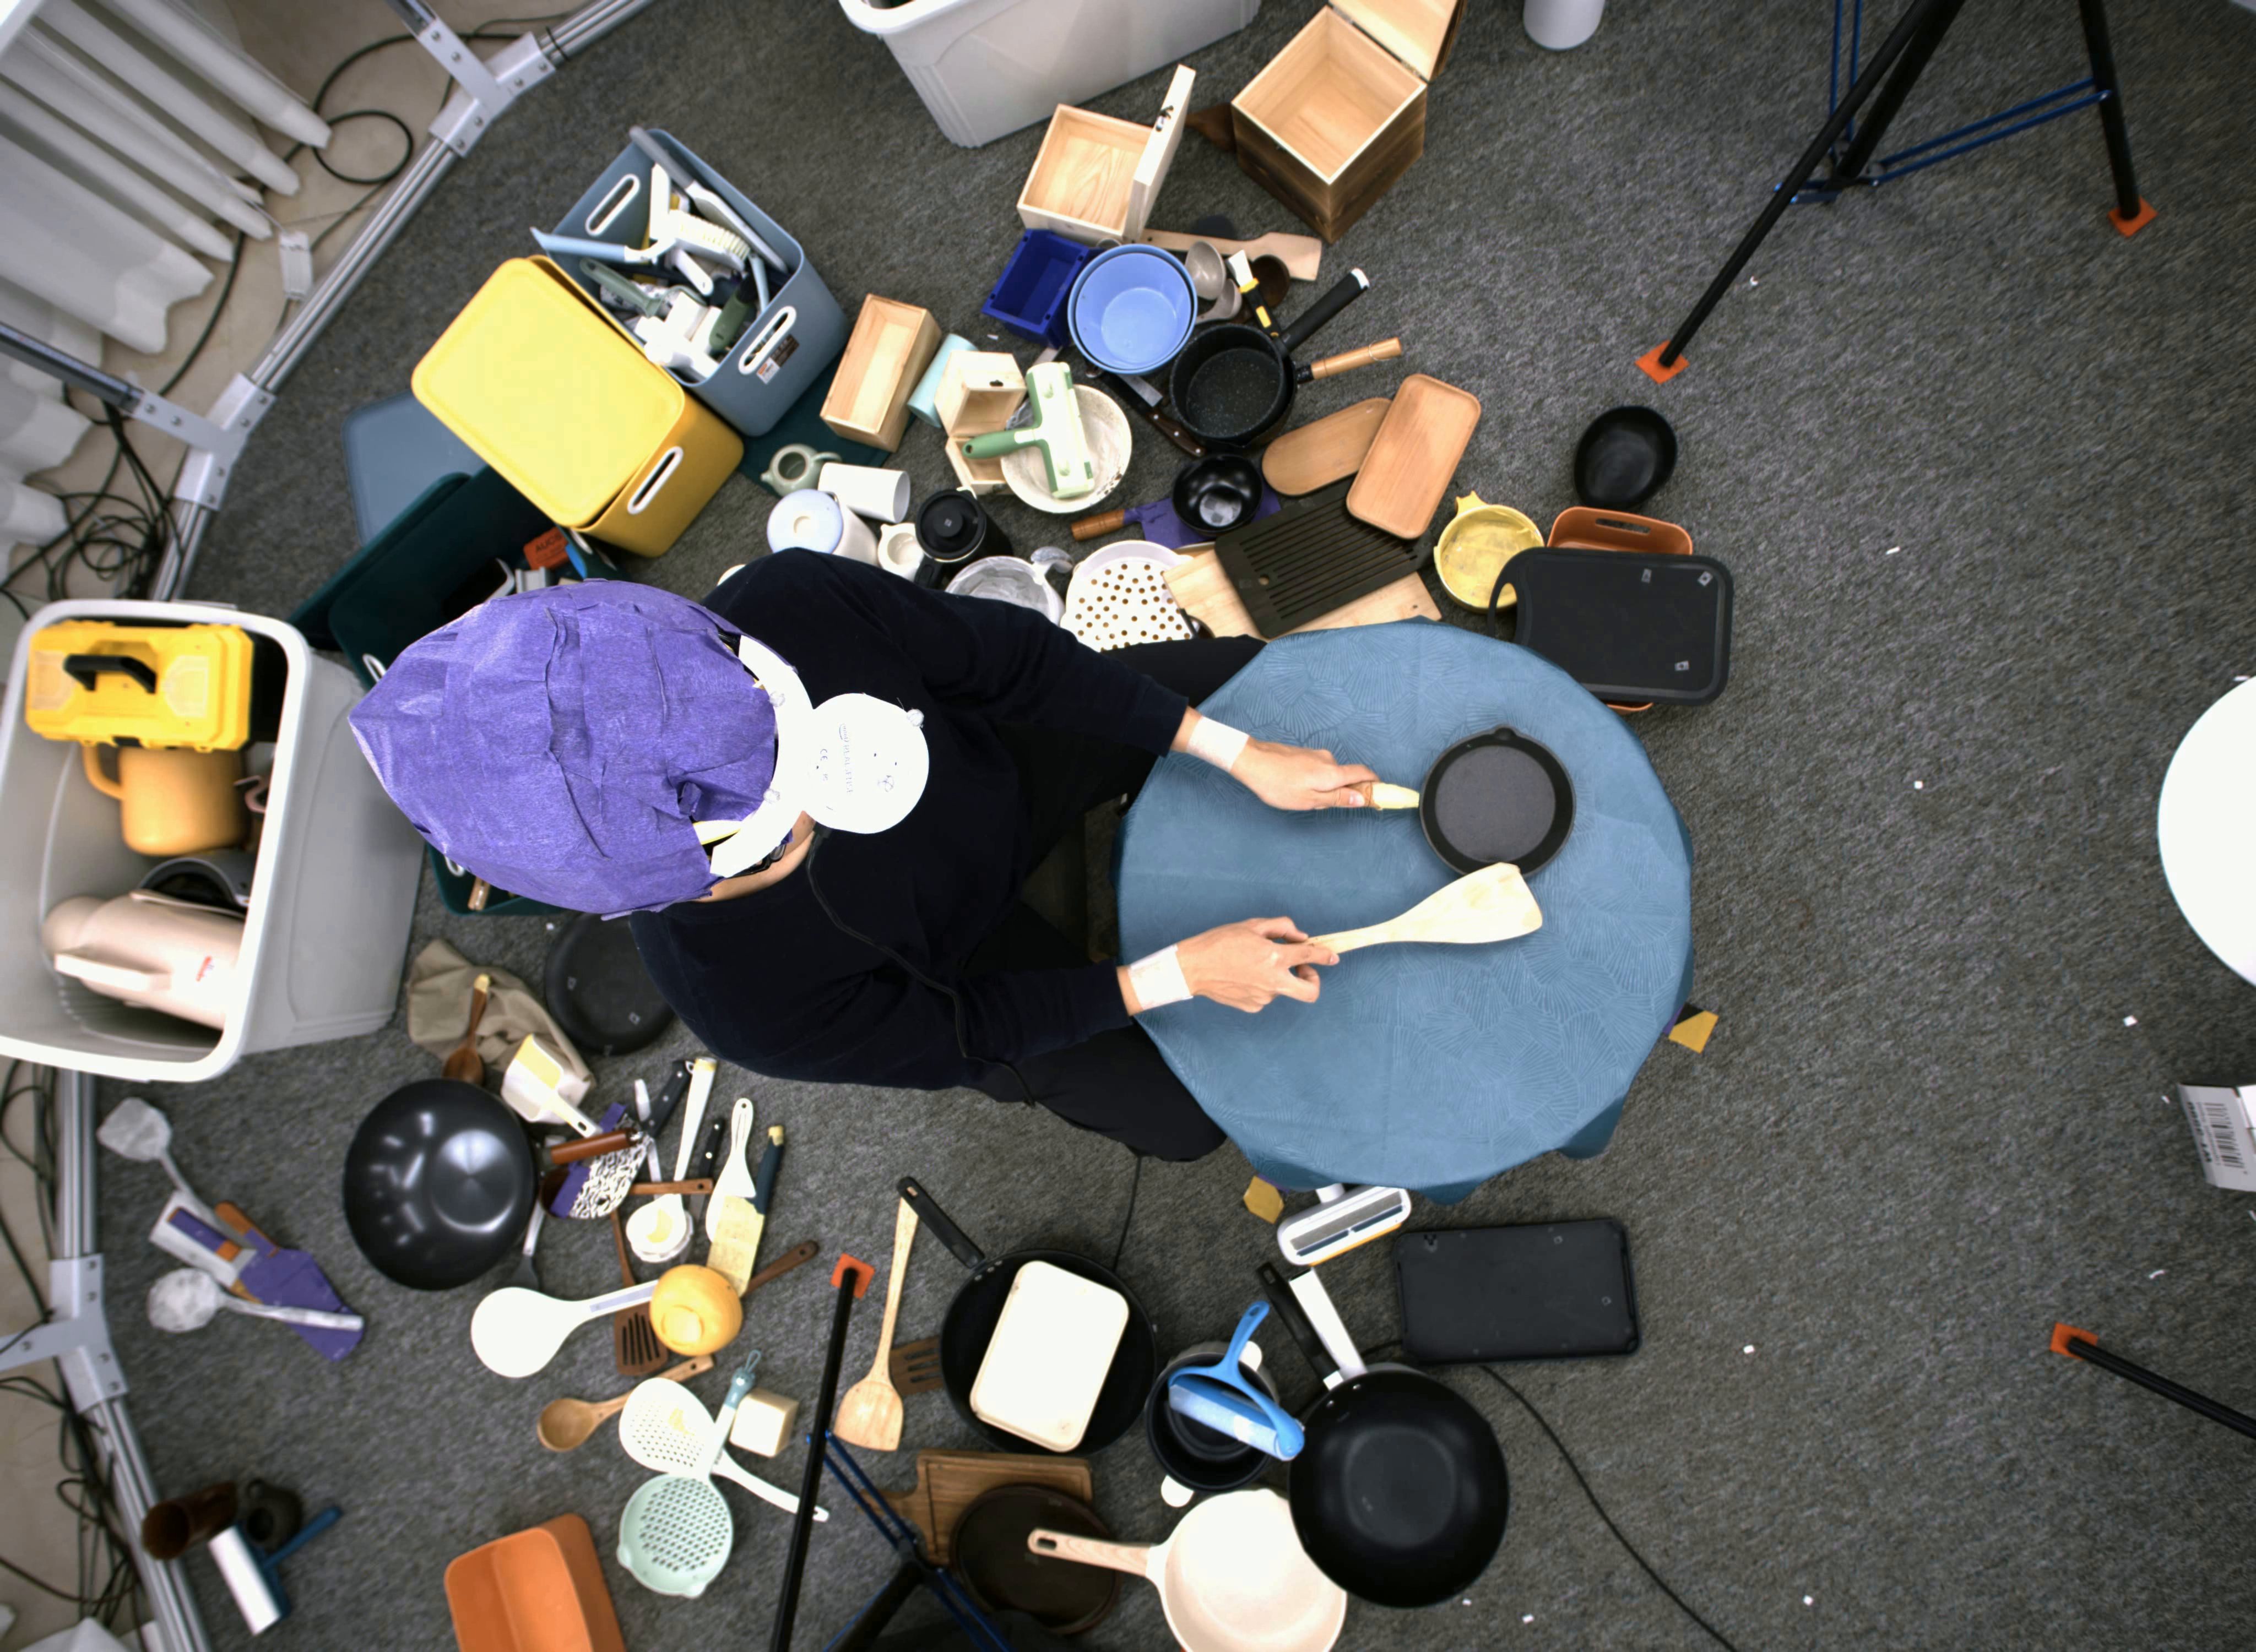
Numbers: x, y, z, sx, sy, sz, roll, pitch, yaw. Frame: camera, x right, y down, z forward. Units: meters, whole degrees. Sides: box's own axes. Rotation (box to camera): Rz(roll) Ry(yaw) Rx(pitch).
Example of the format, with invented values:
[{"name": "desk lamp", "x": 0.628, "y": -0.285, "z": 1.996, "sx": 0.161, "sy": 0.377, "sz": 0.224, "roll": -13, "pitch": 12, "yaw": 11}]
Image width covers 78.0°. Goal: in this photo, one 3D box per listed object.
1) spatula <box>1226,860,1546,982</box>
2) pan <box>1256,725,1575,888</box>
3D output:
[{"name": "spatula", "x": 0.258, "y": 0.105, "z": 1.404, "sx": 0.328, "sy": 0.017, "sz": 0.079, "roll": -14, "pitch": 76, "yaw": -1}, {"name": "pan", "x": 0.295, "y": -0.033, "z": 1.422, "sx": 0.325, "sy": 0.049, "sz": 0.170, "roll": 7, "pitch": 99, "yaw": 8}]
